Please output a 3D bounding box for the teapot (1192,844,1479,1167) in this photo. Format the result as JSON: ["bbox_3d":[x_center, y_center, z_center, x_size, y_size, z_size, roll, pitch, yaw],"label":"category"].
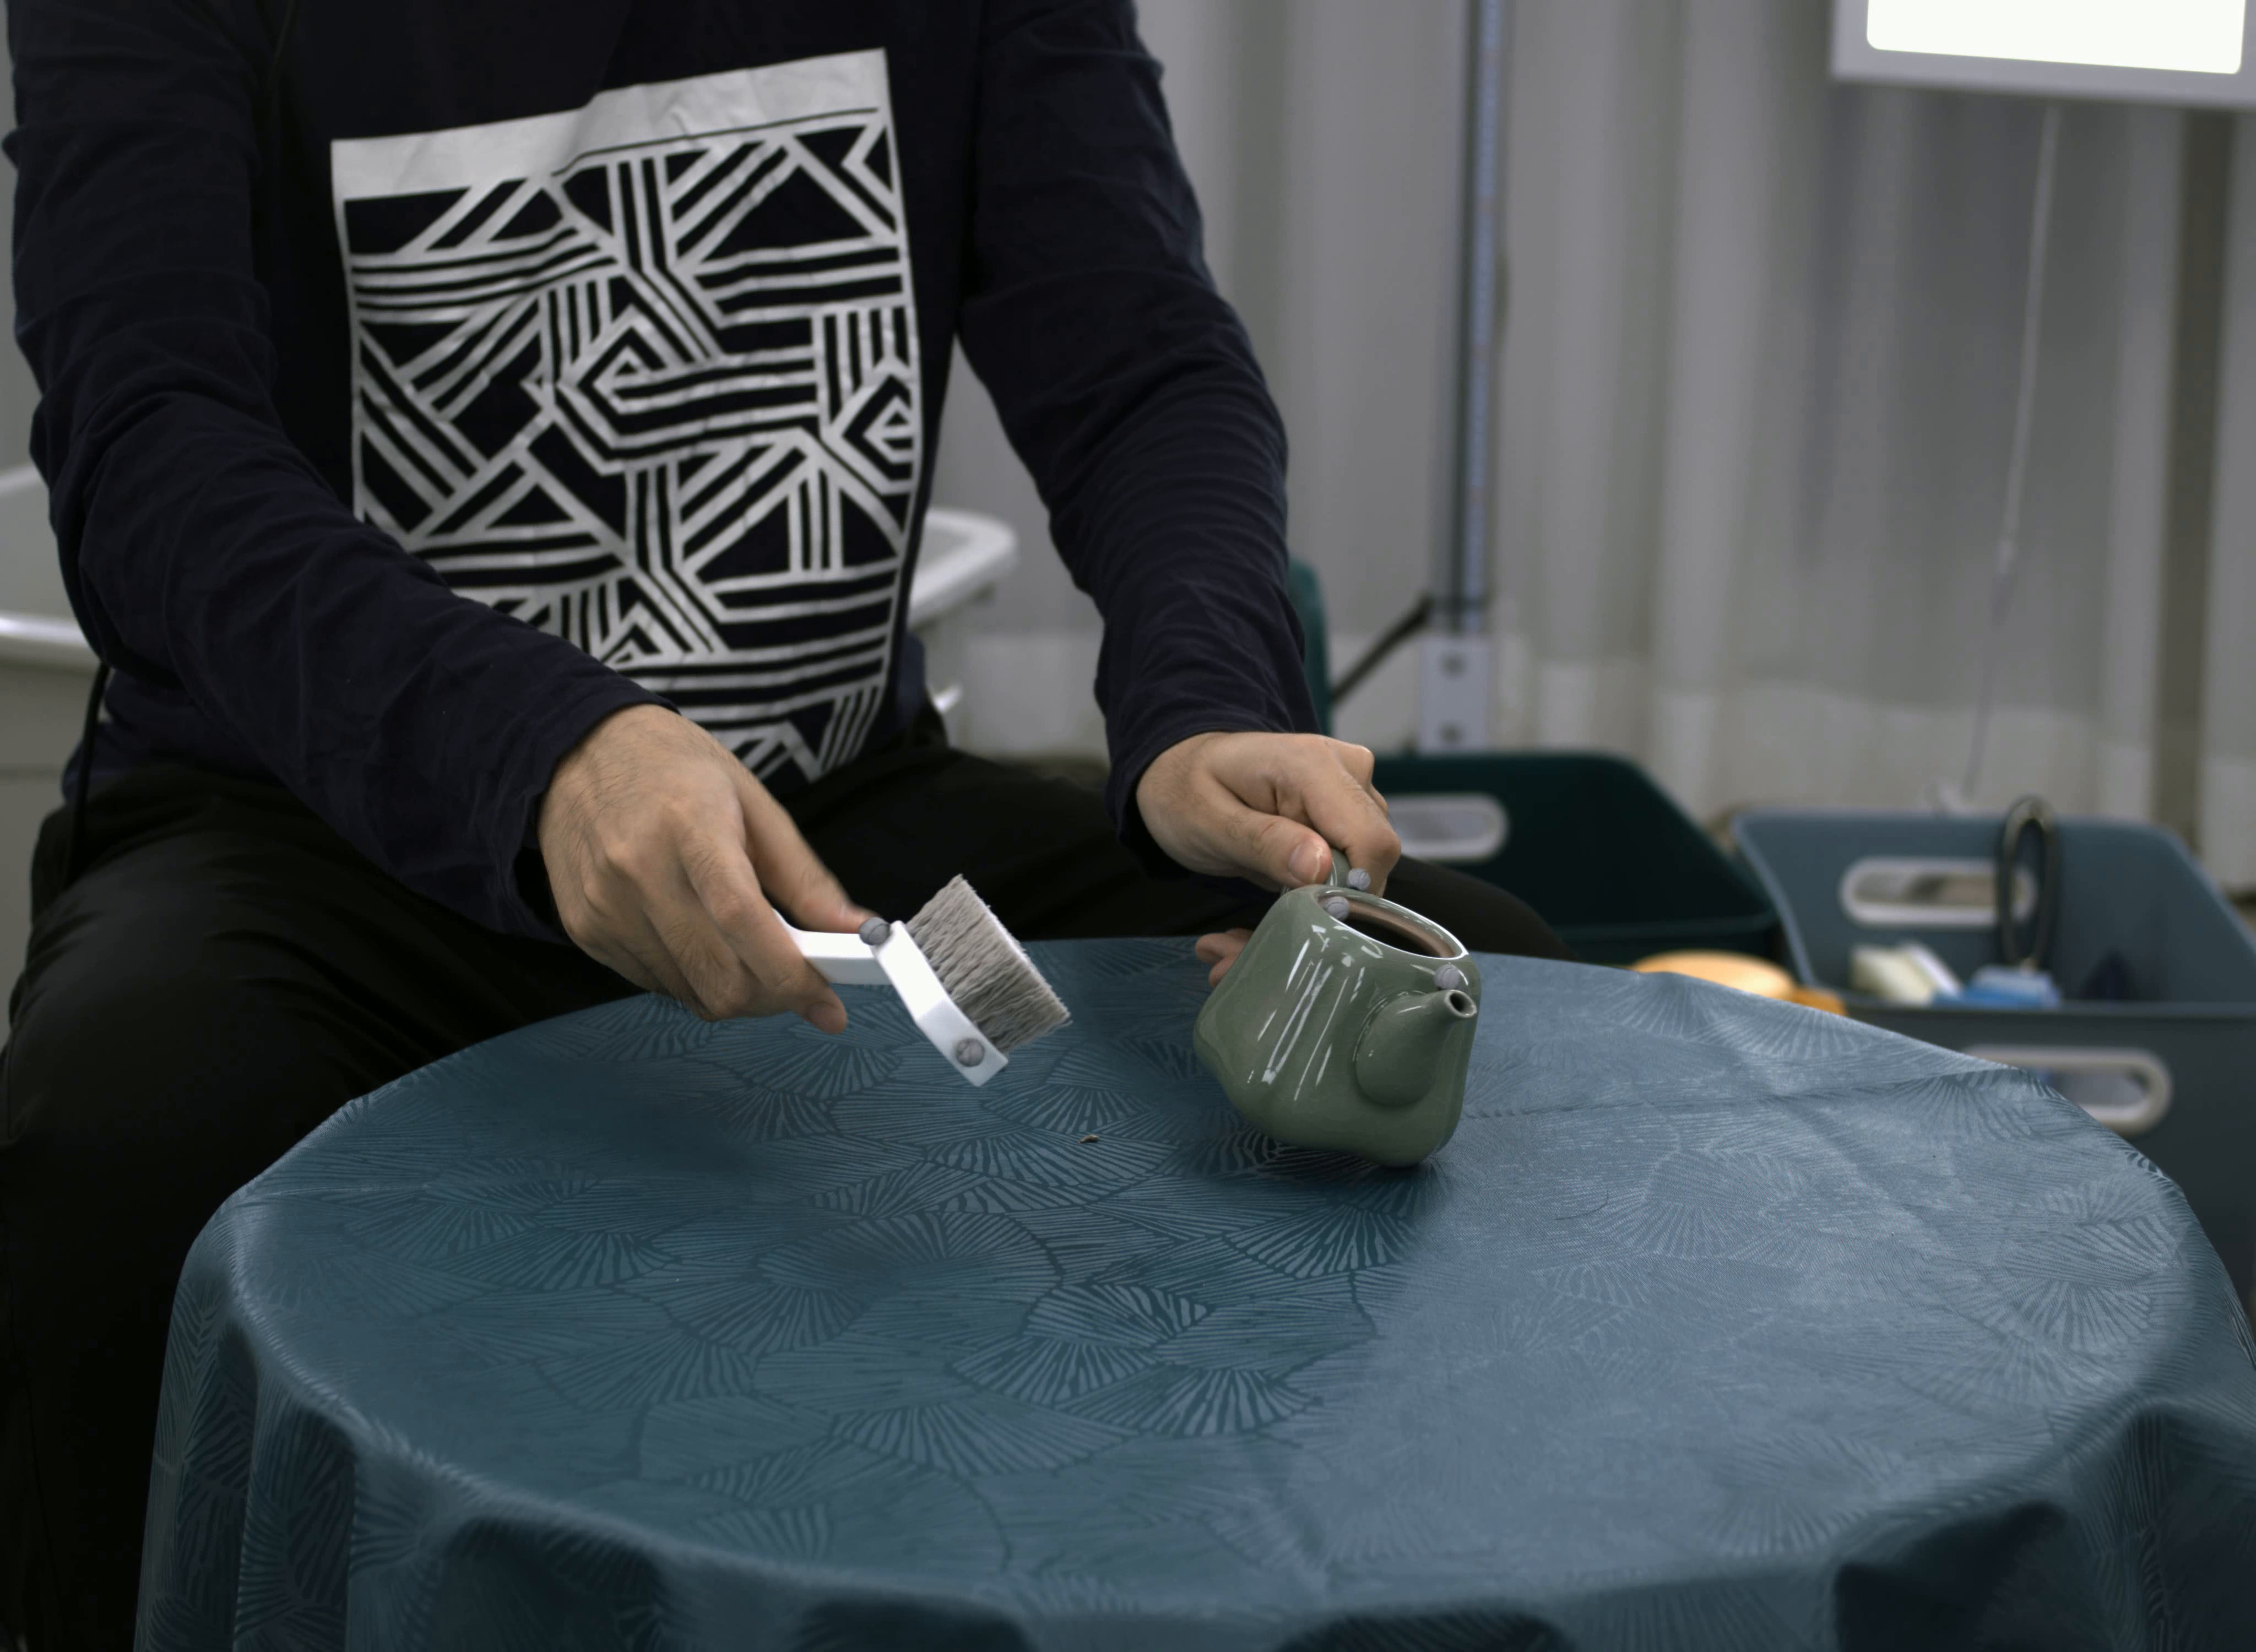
[{"bbox_3d":[0.069,0.060,1.652,0.080,0.075,0.131,14,17,-26],"label":"teapot"}]

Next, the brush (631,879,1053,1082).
[{"bbox_3d":[-0.091,0.033,1.625,0.035,0.050,0.241,39,-11,-27],"label":"brush"}]
